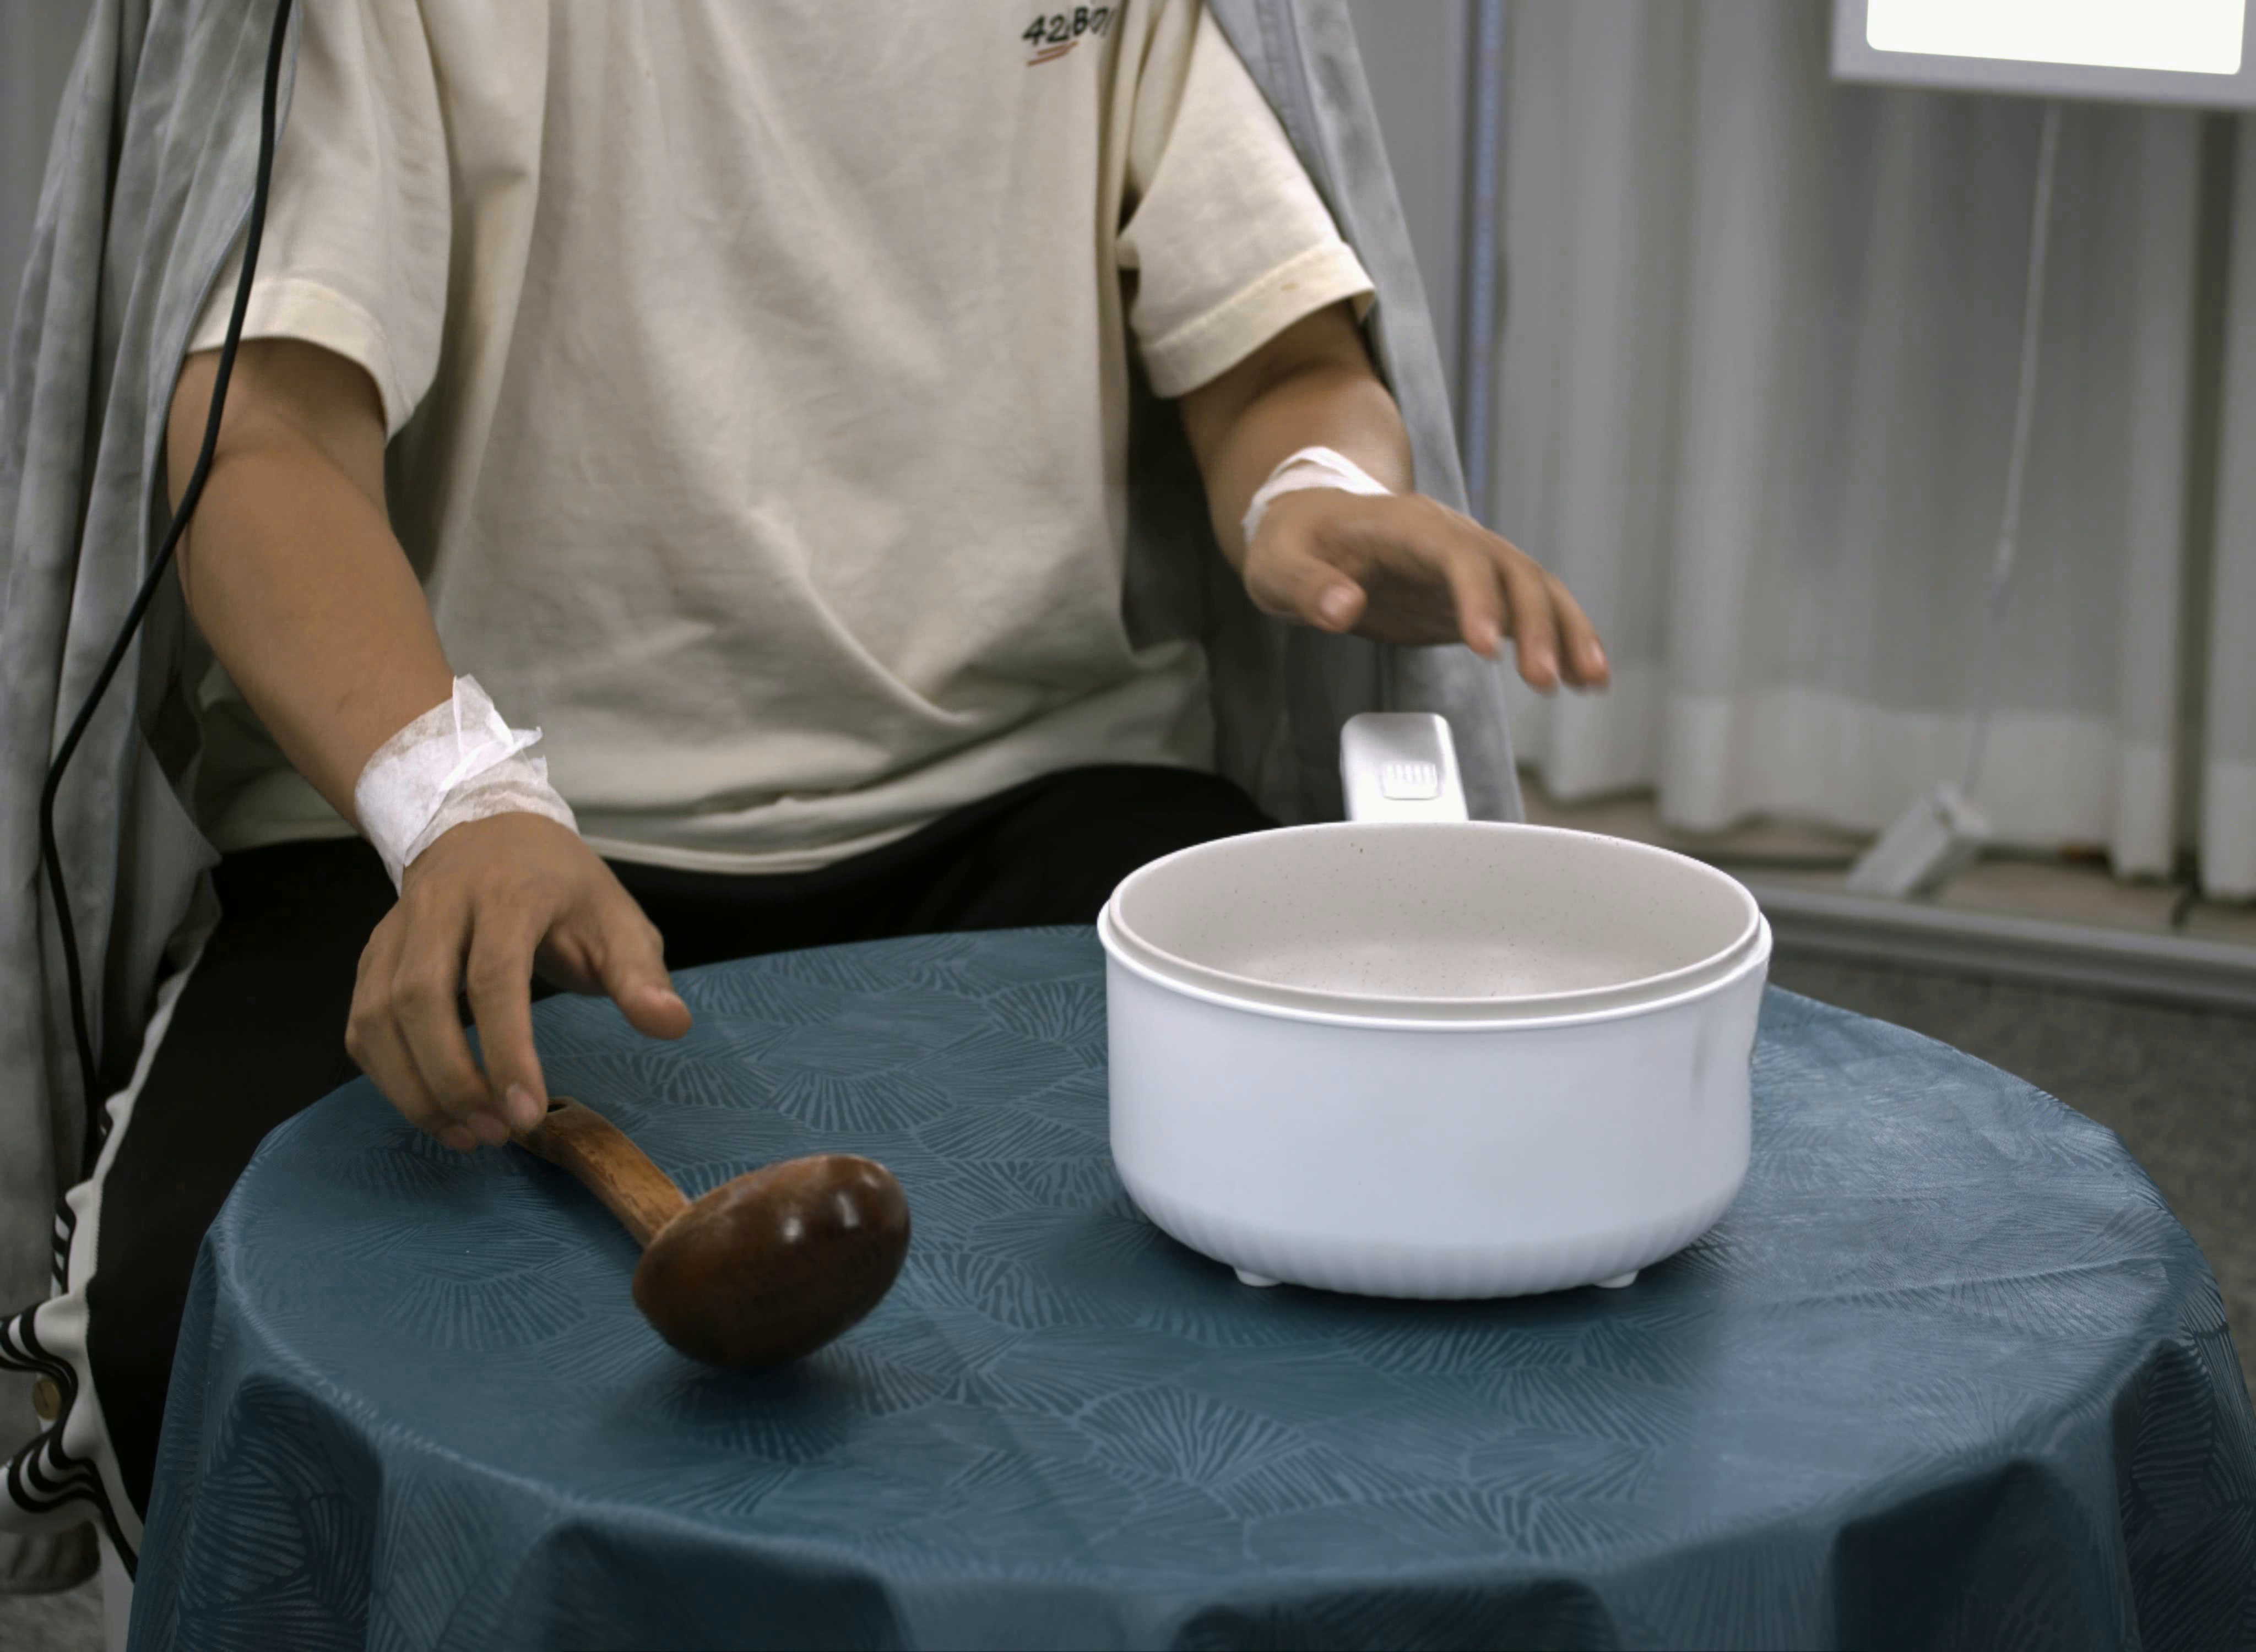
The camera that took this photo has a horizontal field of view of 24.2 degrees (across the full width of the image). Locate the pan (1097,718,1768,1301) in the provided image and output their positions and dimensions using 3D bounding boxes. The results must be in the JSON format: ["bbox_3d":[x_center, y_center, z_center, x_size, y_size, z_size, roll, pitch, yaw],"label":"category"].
[{"bbox_3d":[0.092,0.053,1.661,0.200,0.103,0.353,0,15,1],"label":"pan"}]

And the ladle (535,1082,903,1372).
[{"bbox_3d":[-0.137,0.093,1.541,0.082,0.077,0.271,-7,19,-19],"label":"ladle"}]
